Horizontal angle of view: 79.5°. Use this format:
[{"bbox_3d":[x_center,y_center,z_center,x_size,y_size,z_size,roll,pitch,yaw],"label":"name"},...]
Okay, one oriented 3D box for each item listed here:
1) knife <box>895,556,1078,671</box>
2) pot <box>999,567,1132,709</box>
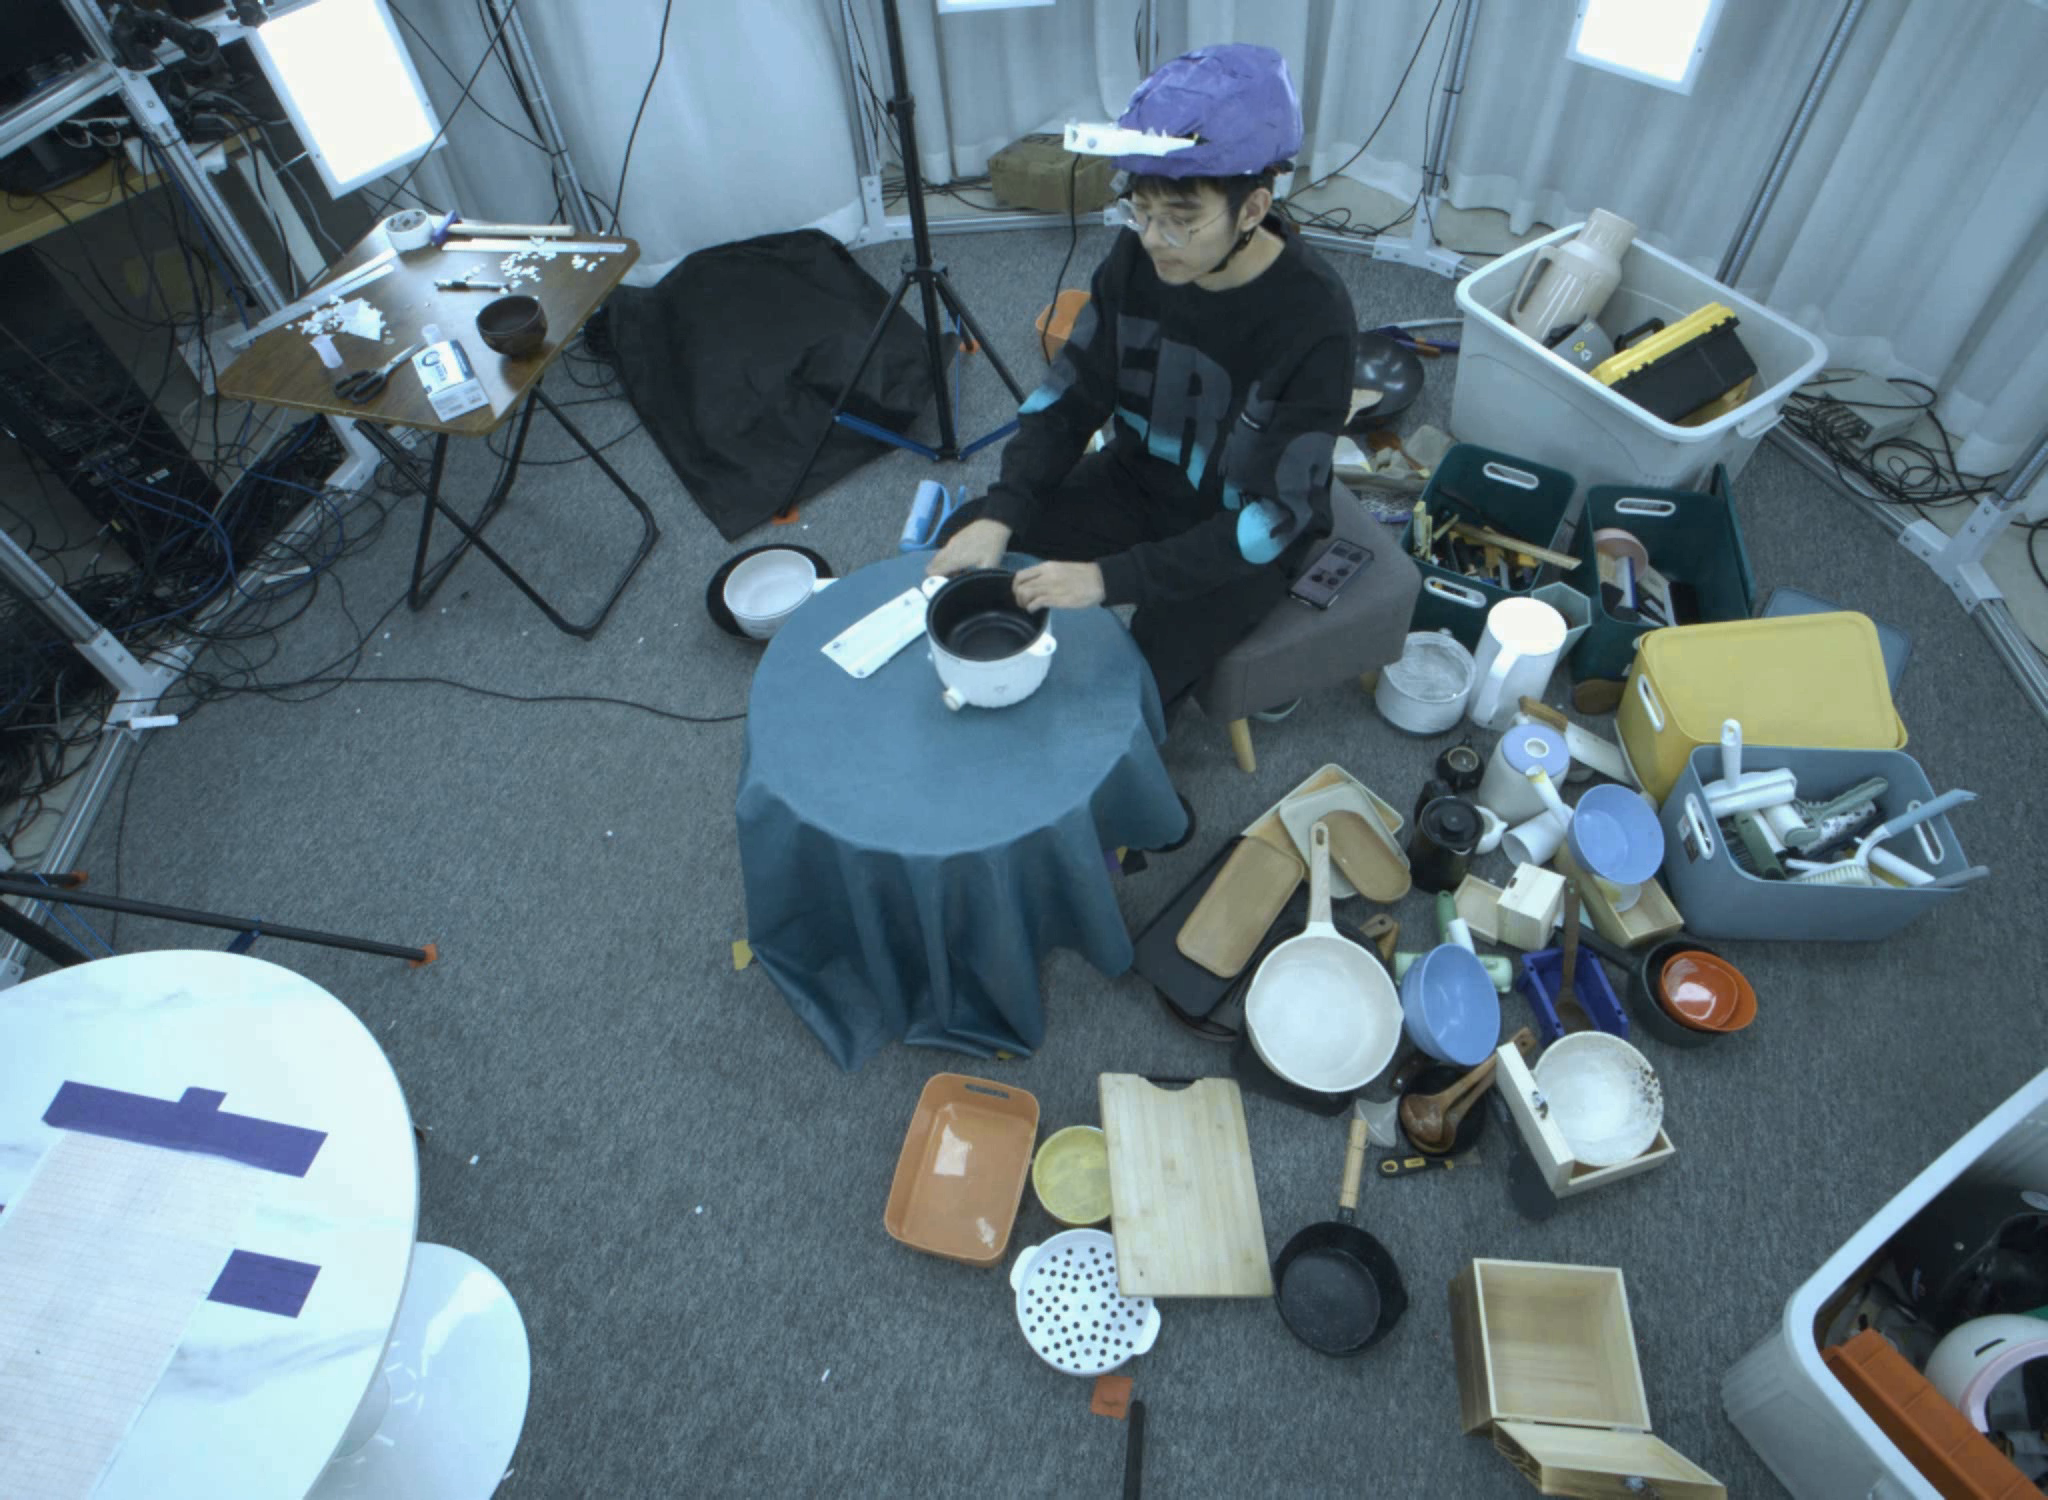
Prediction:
[{"bbox_3d":[-0.051,-0.222,1.934,0.317,0.022,0.112,-30,59,-15],"label":"knife"},{"bbox_3d":[0.057,-0.153,1.807,0.236,0.144,0.192,35,60,25],"label":"pot"}]
